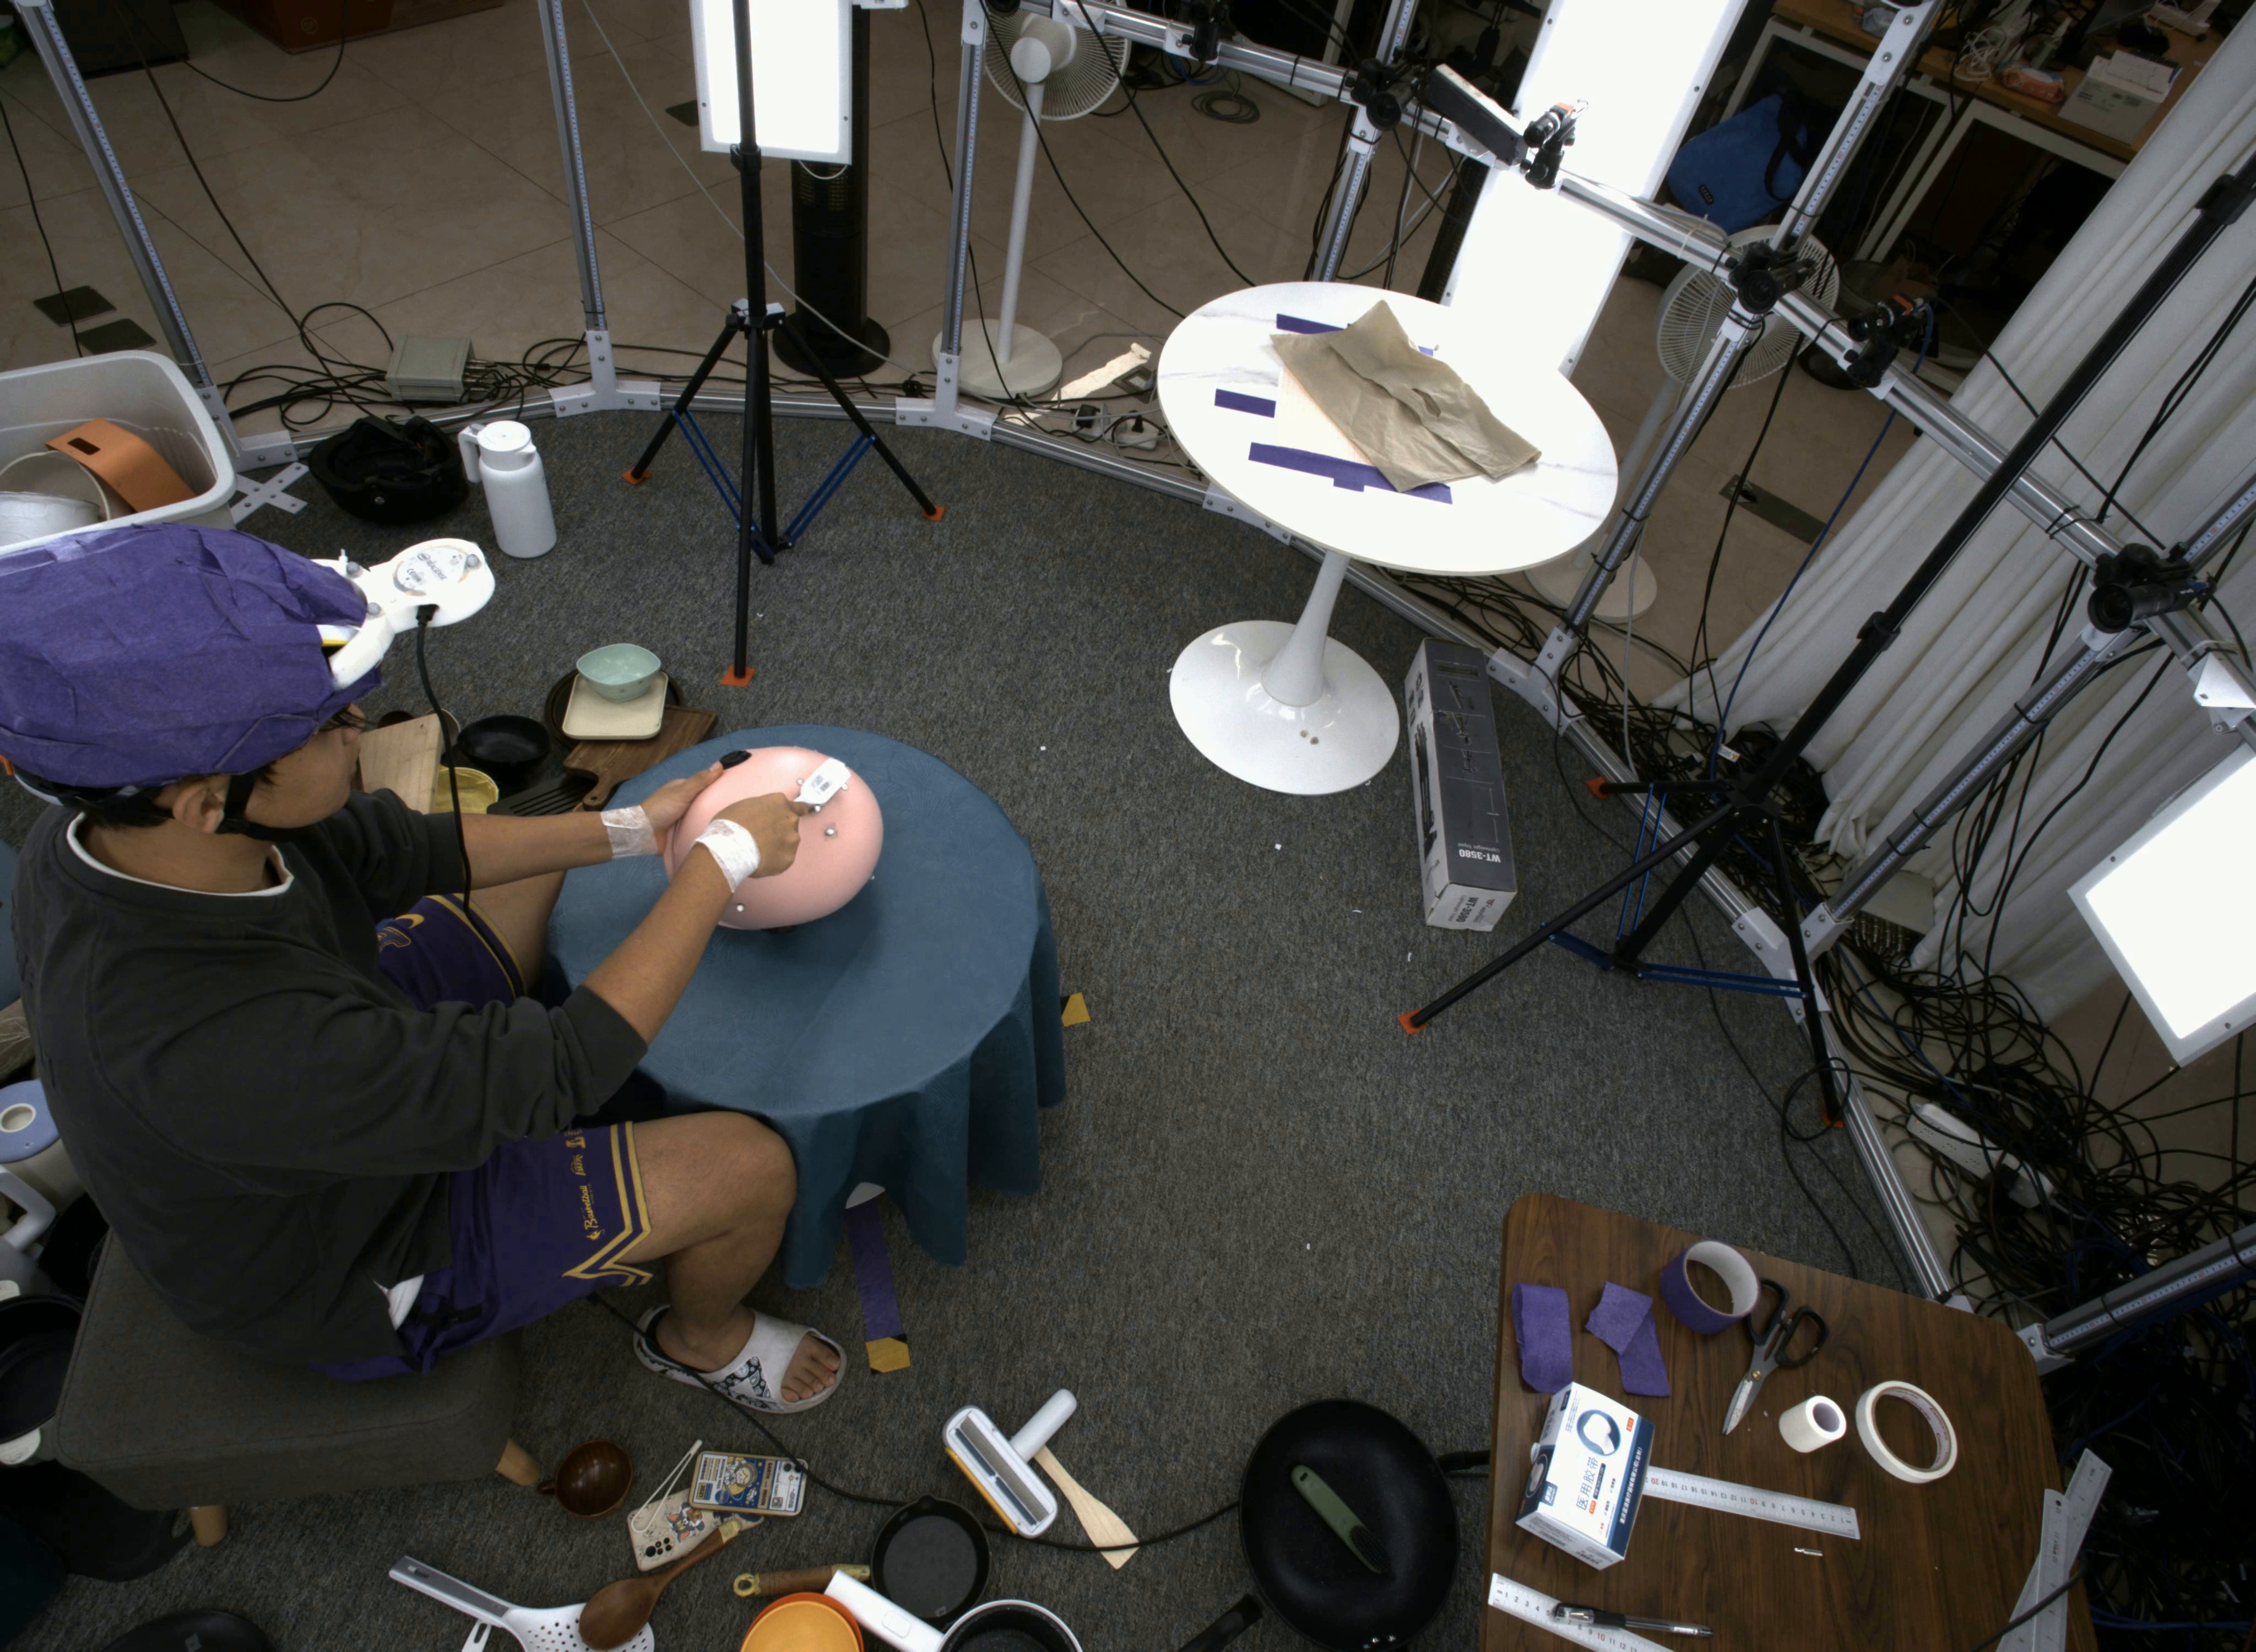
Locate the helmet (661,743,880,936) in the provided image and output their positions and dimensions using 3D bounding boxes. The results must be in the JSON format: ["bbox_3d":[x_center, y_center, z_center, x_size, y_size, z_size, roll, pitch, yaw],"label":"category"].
[{"bbox_3d":[-0.413,0.013,1.557,0.268,0.154,0.240,-21,105,-32],"label":"helmet"}]

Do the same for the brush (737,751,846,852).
[{"bbox_3d":[-0.372,-0.018,1.413,0.035,0.050,0.241,39,28,-7],"label":"brush"}]
